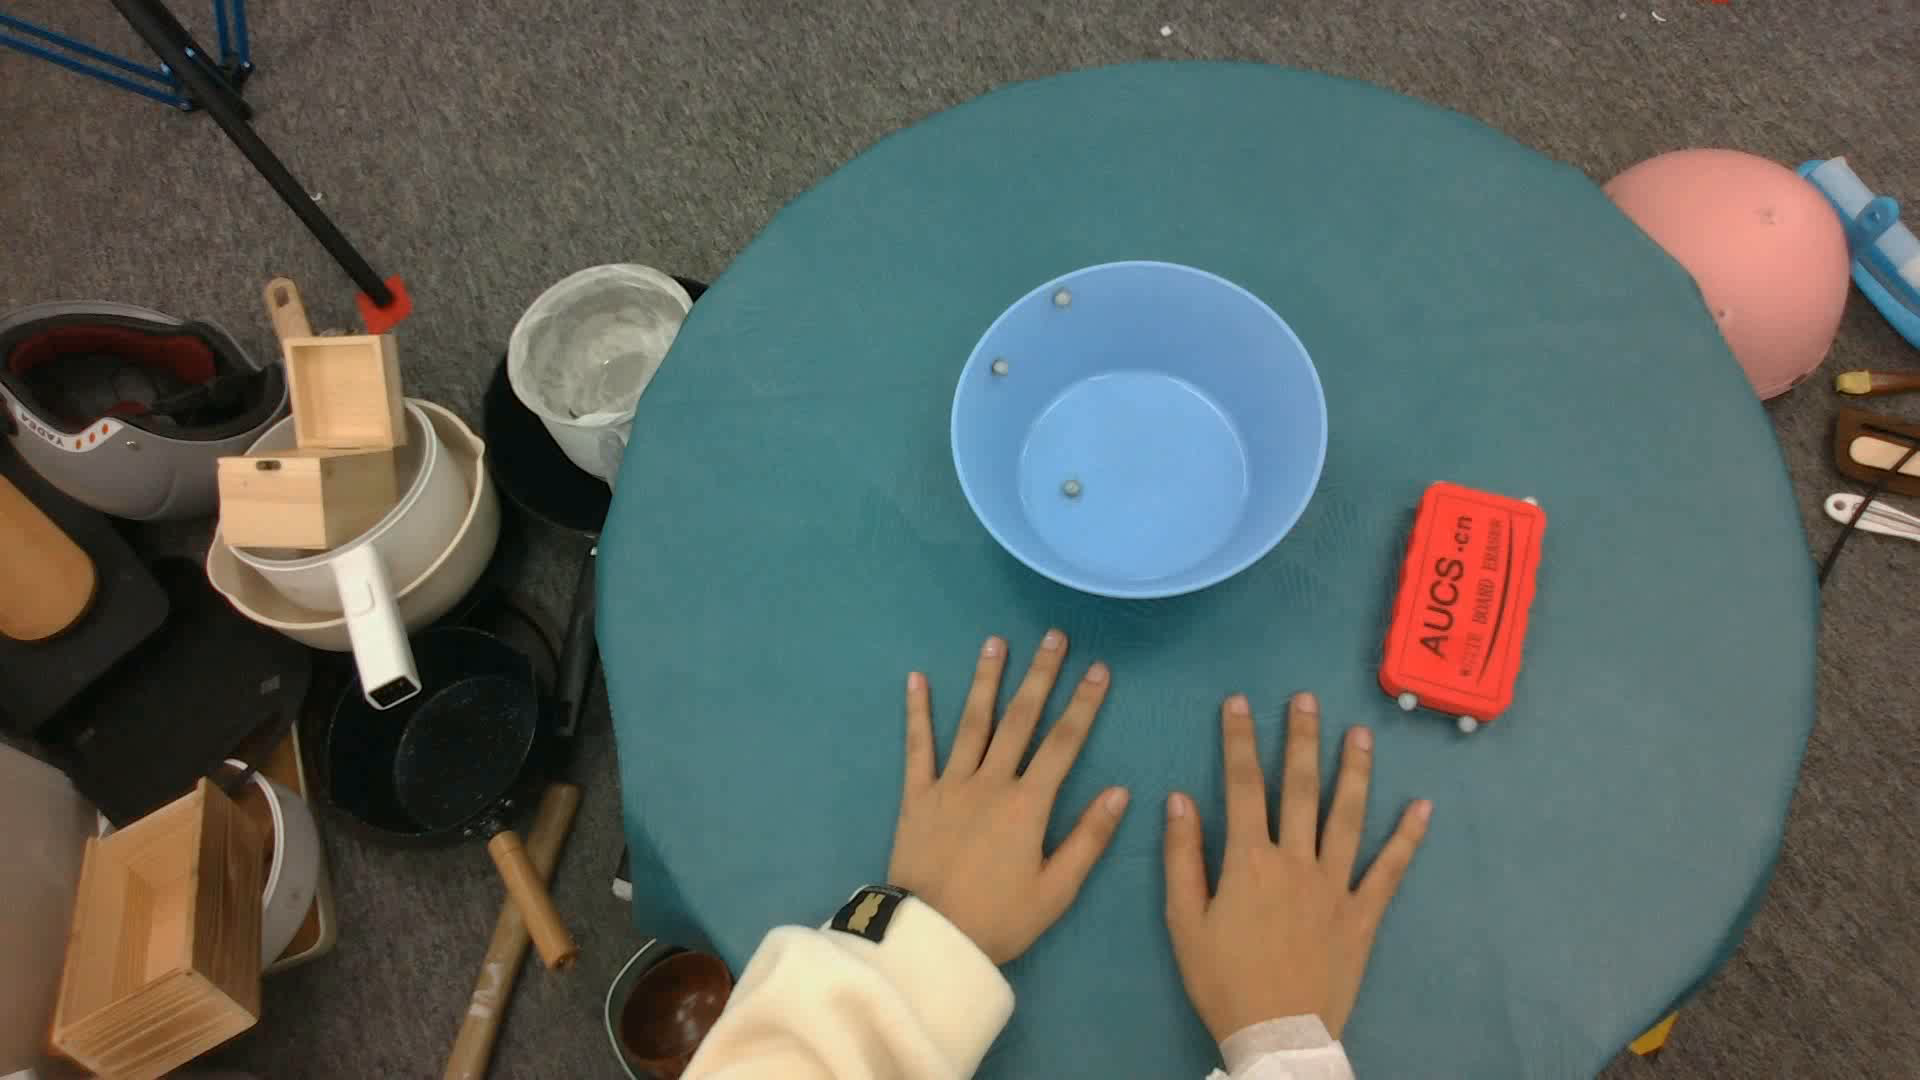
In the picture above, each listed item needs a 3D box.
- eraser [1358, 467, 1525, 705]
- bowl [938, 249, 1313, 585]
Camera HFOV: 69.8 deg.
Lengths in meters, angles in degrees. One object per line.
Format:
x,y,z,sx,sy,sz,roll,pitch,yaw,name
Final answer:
0.231,0.021,0.660,0.059,0.023,0.108,17,70,8,eraser
0.079,-0.050,0.675,0.176,0.070,0.176,-1,68,4,bowl
